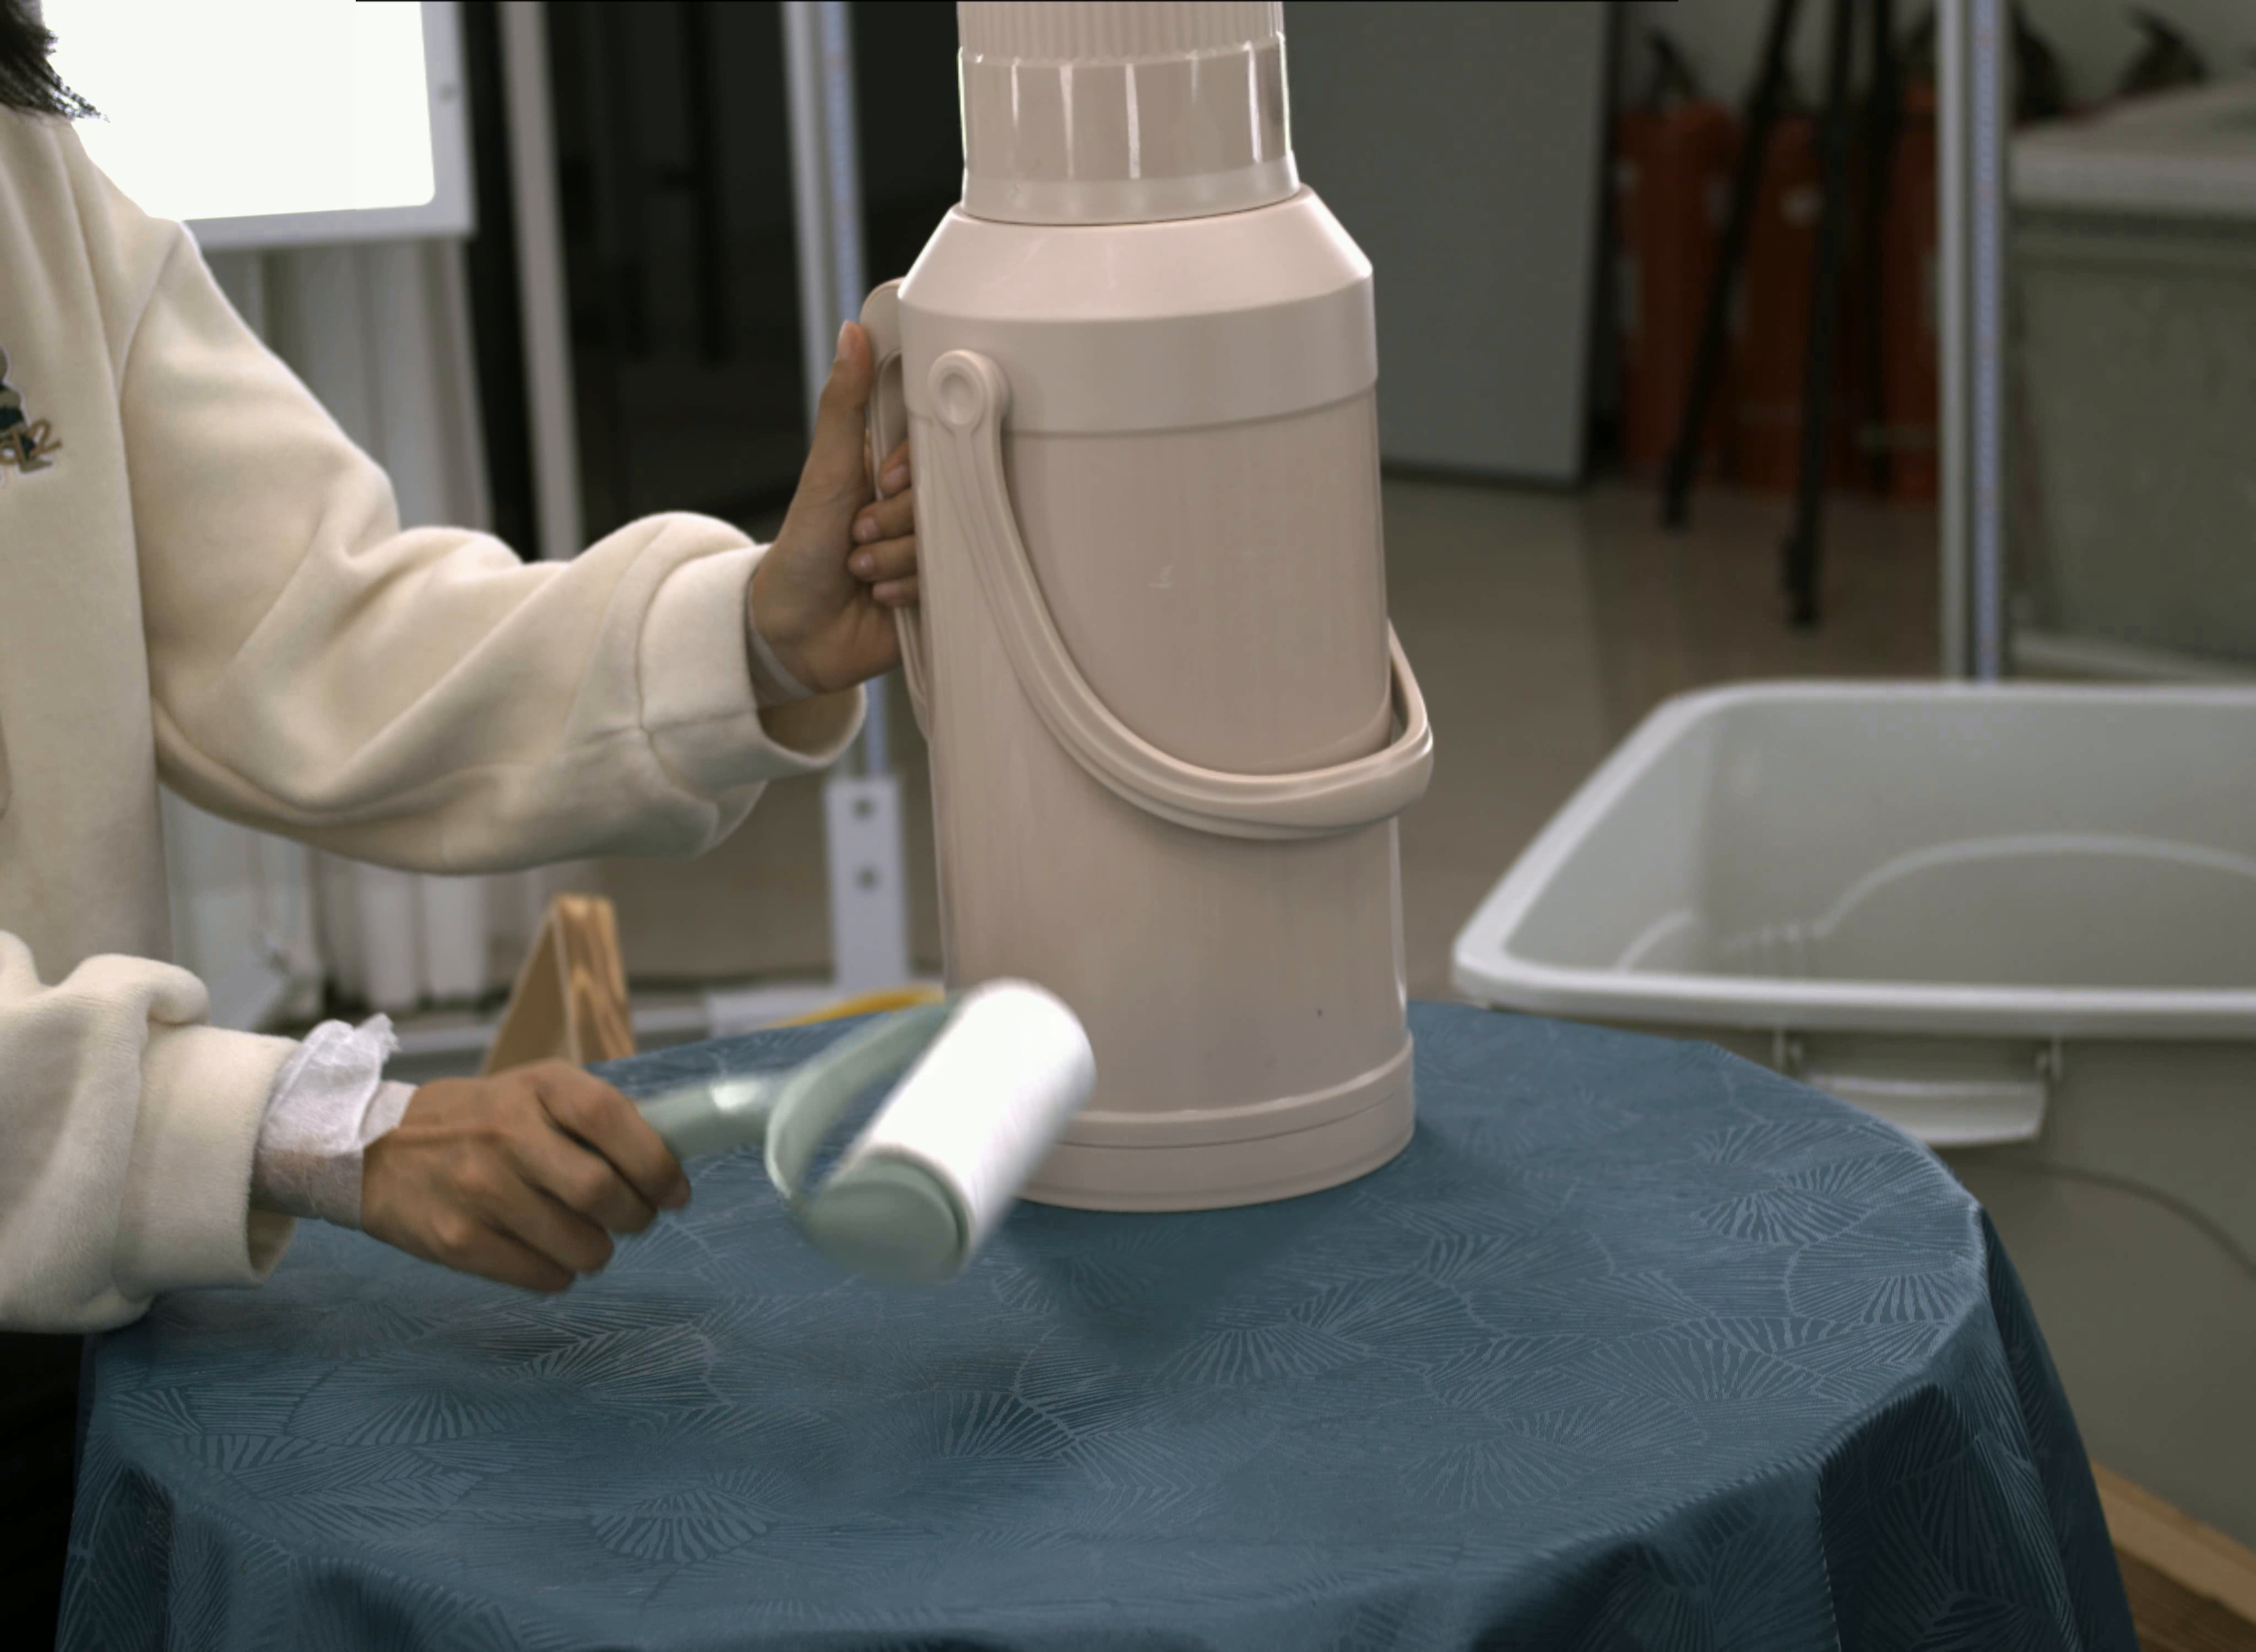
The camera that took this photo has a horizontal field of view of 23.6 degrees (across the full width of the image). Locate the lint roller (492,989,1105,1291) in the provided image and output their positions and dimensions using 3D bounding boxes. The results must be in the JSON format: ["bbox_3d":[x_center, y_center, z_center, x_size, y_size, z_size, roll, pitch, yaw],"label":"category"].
[{"bbox_3d":[-0.109,0.100,1.619,0.198,0.049,0.116,-7,25,27],"label":"lint roller"}]

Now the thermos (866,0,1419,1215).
[{"bbox_3d":[-0.002,-0.088,1.784,0.209,0.411,0.172,8,18,42],"label":"thermos"}]
